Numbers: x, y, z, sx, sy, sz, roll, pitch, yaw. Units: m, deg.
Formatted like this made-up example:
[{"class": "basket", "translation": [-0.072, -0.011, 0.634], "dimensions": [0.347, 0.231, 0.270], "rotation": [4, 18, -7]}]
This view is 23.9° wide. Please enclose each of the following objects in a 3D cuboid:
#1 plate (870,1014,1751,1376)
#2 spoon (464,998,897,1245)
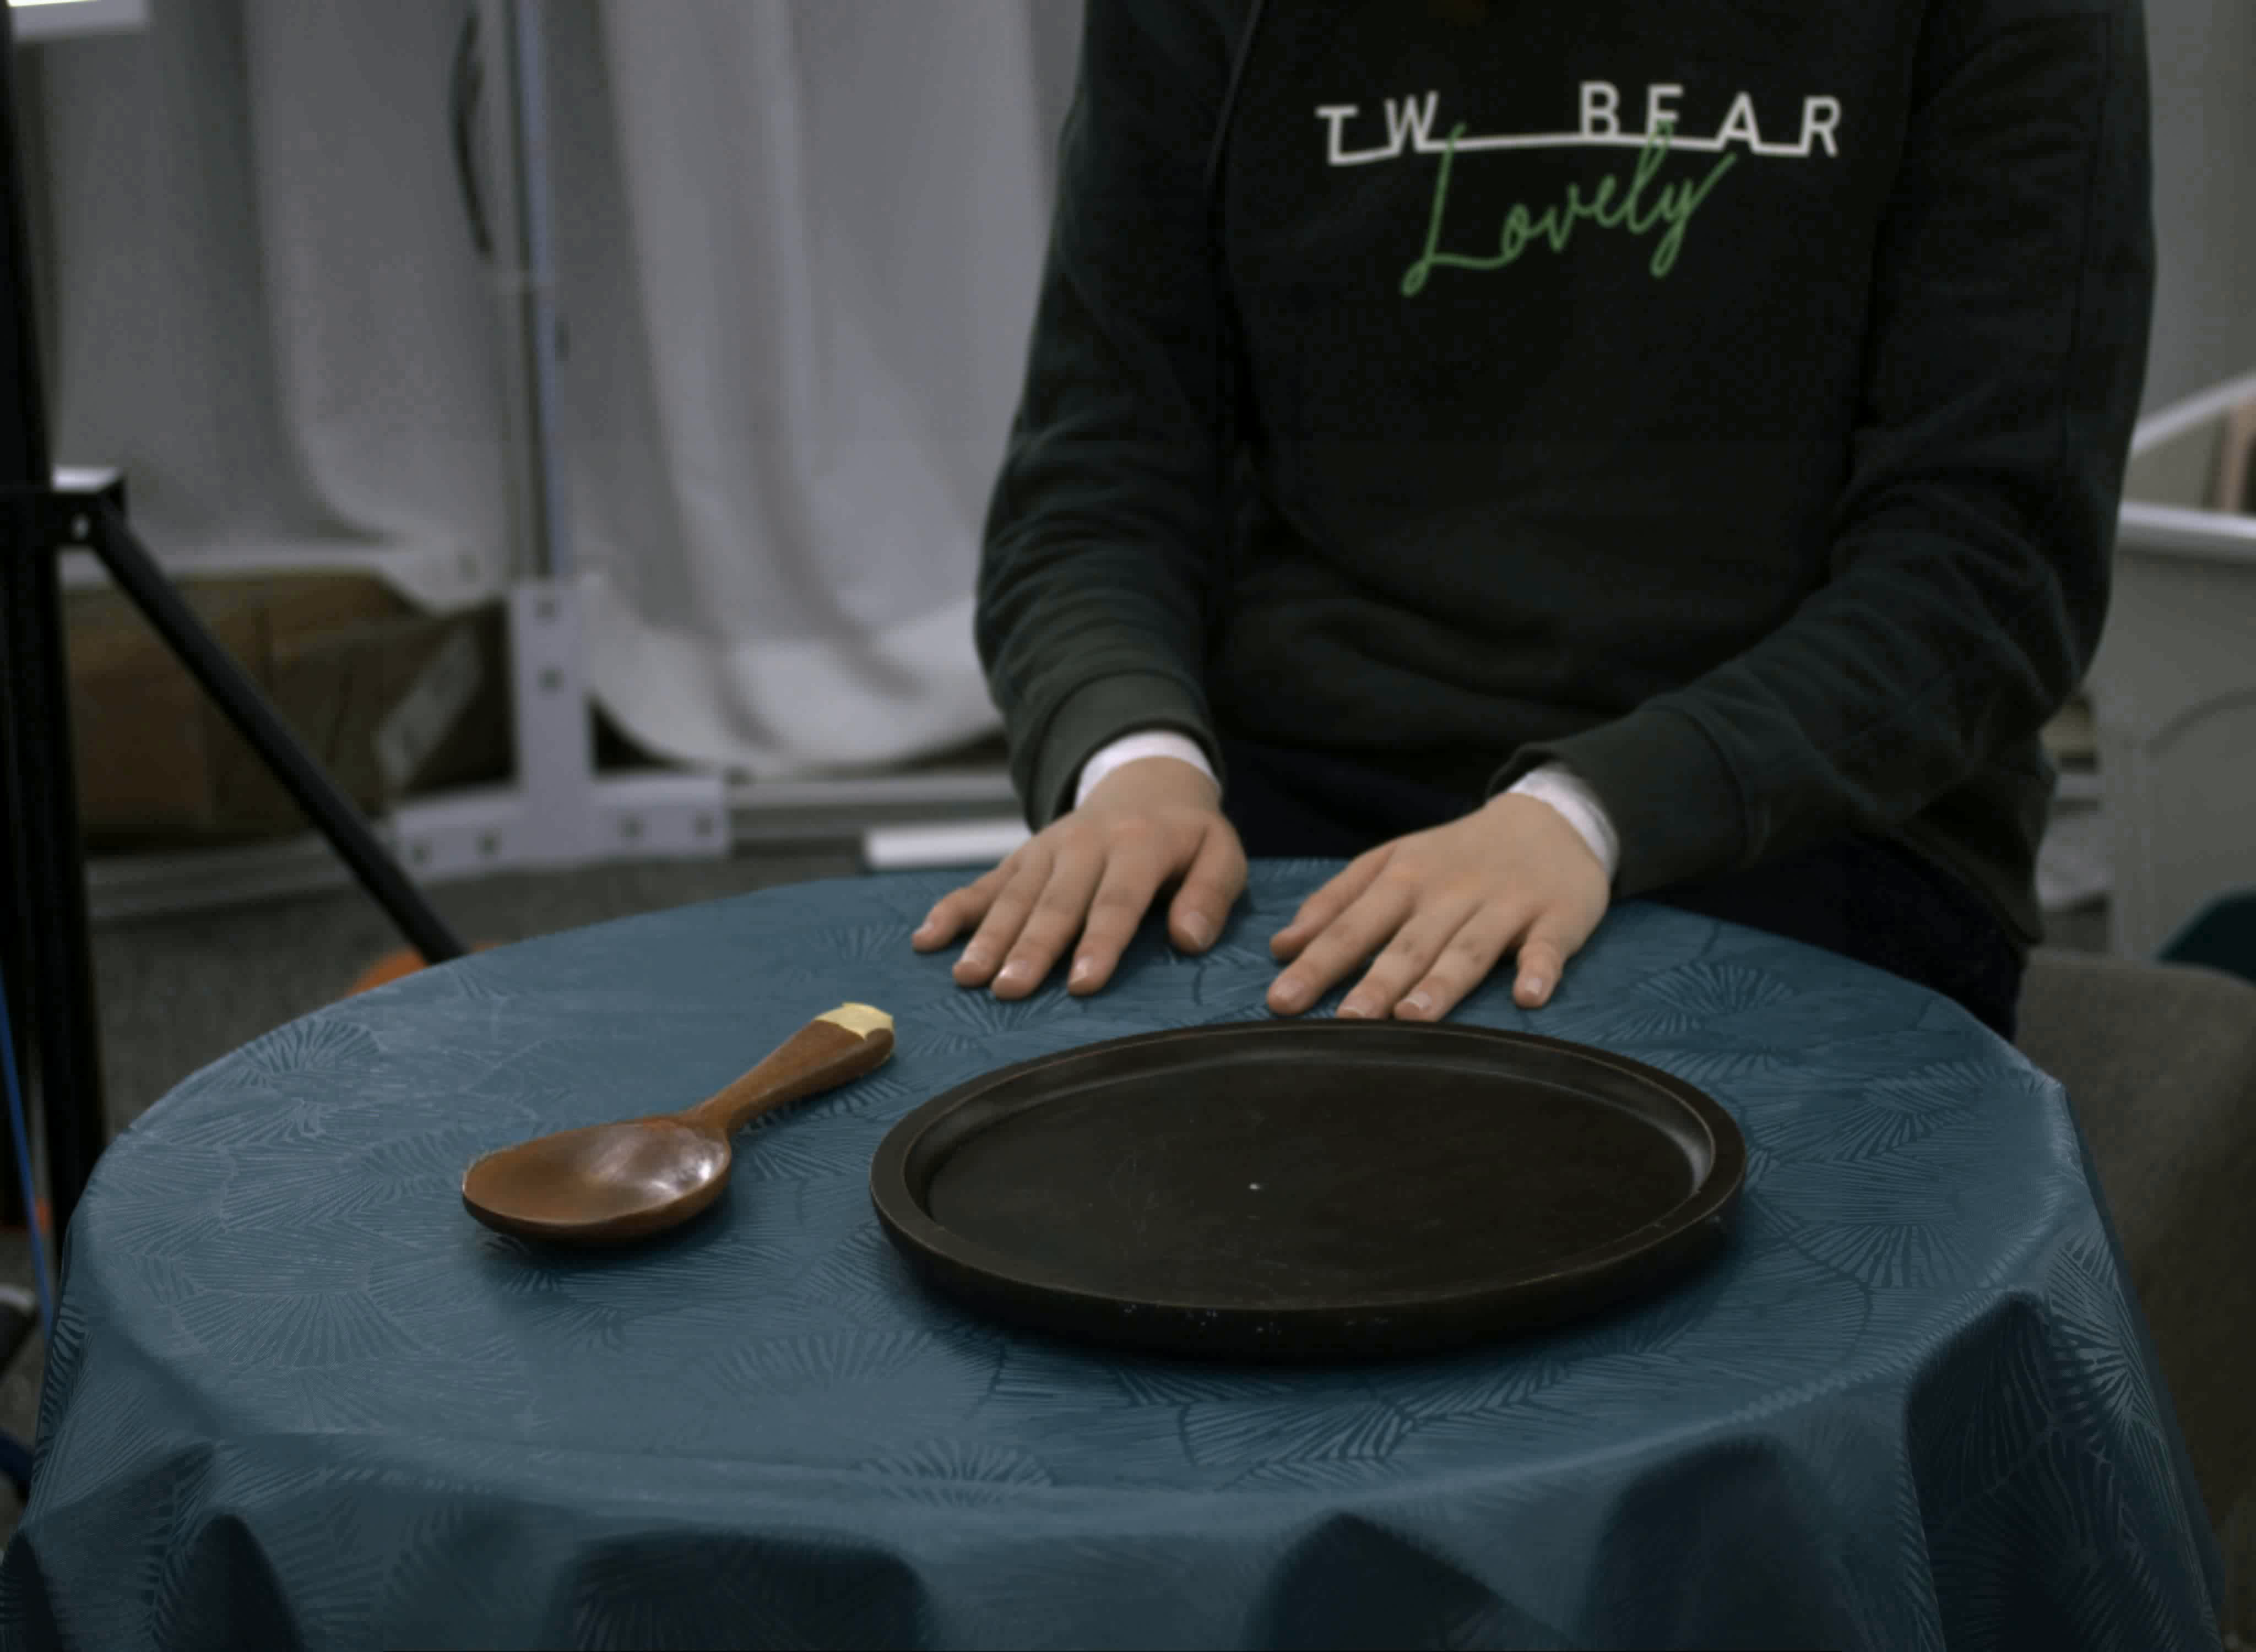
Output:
[{"class": "plate", "translation": [0.052, 0.104, 1.522], "dimensions": [0.253, 0.029, 0.256], "rotation": [-2, 17, -1]}, {"class": "spoon", "translation": [-0.126, 0.090, 1.610], "dimensions": [0.076, 0.017, 0.212], "rotation": [5, 18, 25]}]
